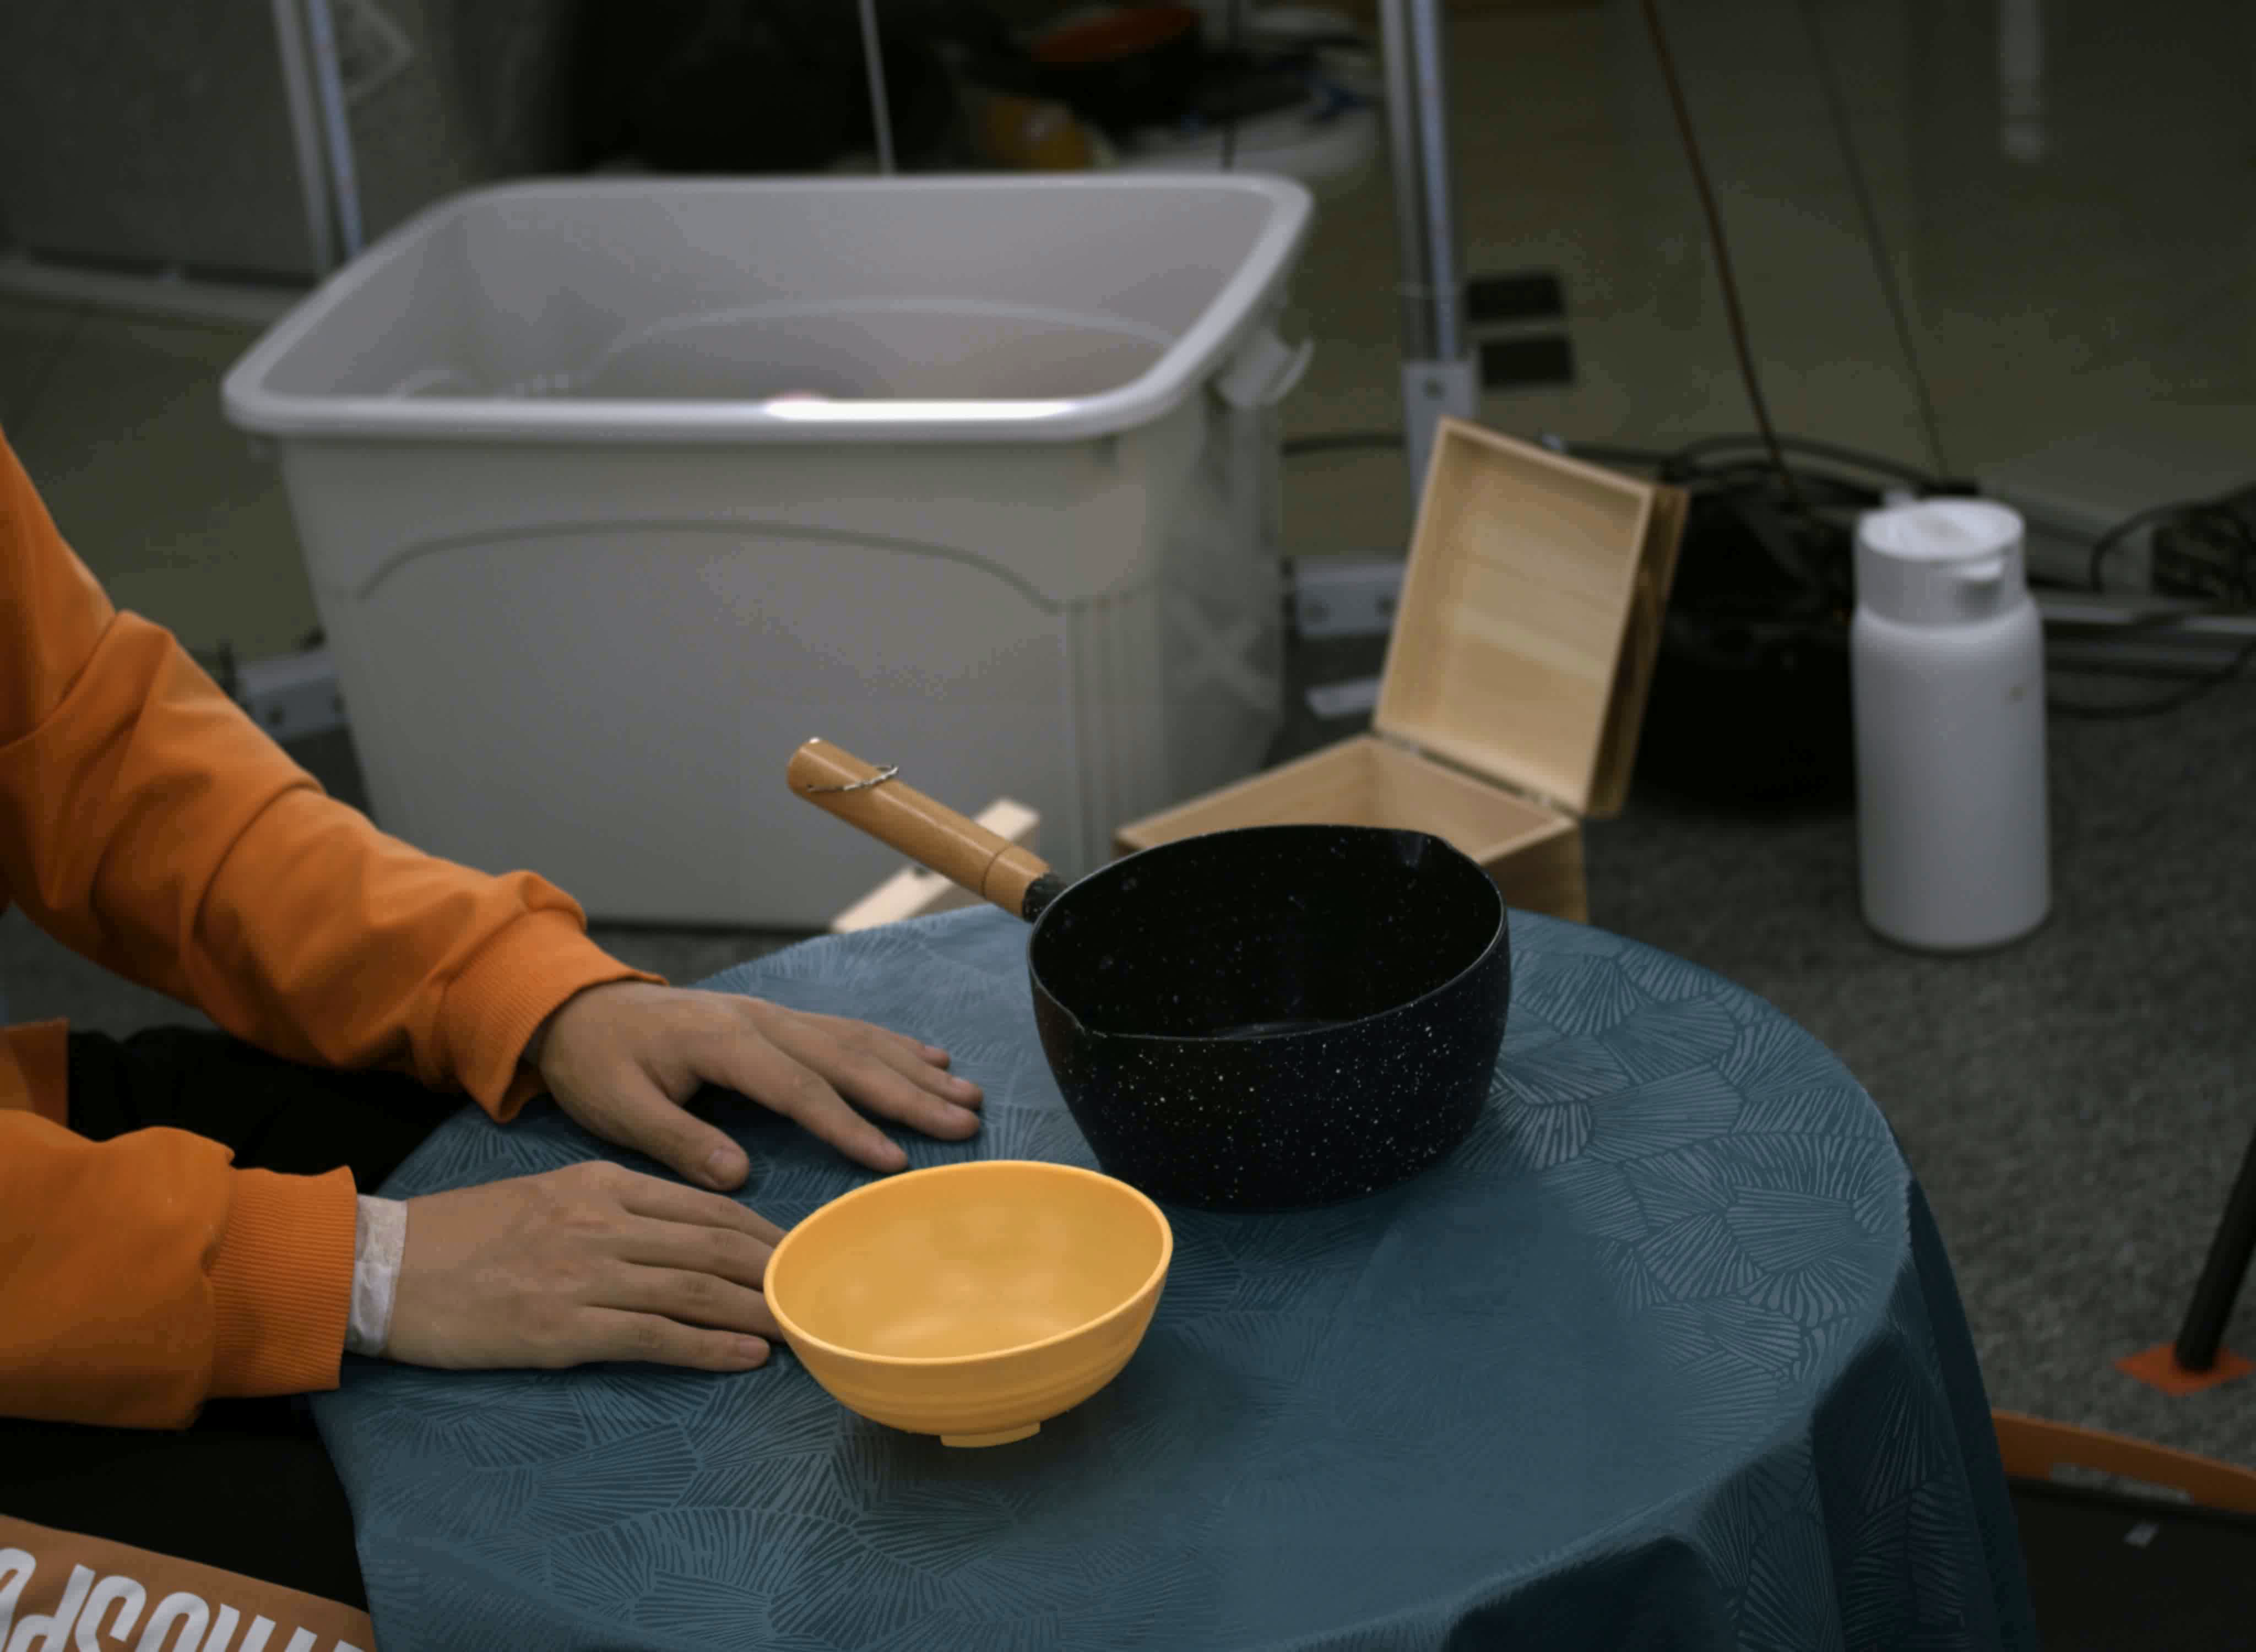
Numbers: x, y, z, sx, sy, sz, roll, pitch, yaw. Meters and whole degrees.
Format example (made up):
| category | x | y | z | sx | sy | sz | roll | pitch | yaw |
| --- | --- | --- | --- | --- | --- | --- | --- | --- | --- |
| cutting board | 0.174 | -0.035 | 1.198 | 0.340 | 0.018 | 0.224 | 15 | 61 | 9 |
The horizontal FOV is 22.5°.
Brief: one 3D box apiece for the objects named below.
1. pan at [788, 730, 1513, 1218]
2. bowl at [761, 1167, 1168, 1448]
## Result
| category | x | y | z | sx | sy | sz | roll | pitch | yaw |
| --- | --- | --- | --- | --- | --- | --- | --- | --- | --- |
| pan | -0.004 | 0.049 | 2.211 | 0.340 | 0.110 | 0.205 | 17 | 35 | 38 |
| bowl | -0.055 | 0.178 | 2.006 | 0.145 | 0.061 | 0.143 | -5 | 24 | 2 |
